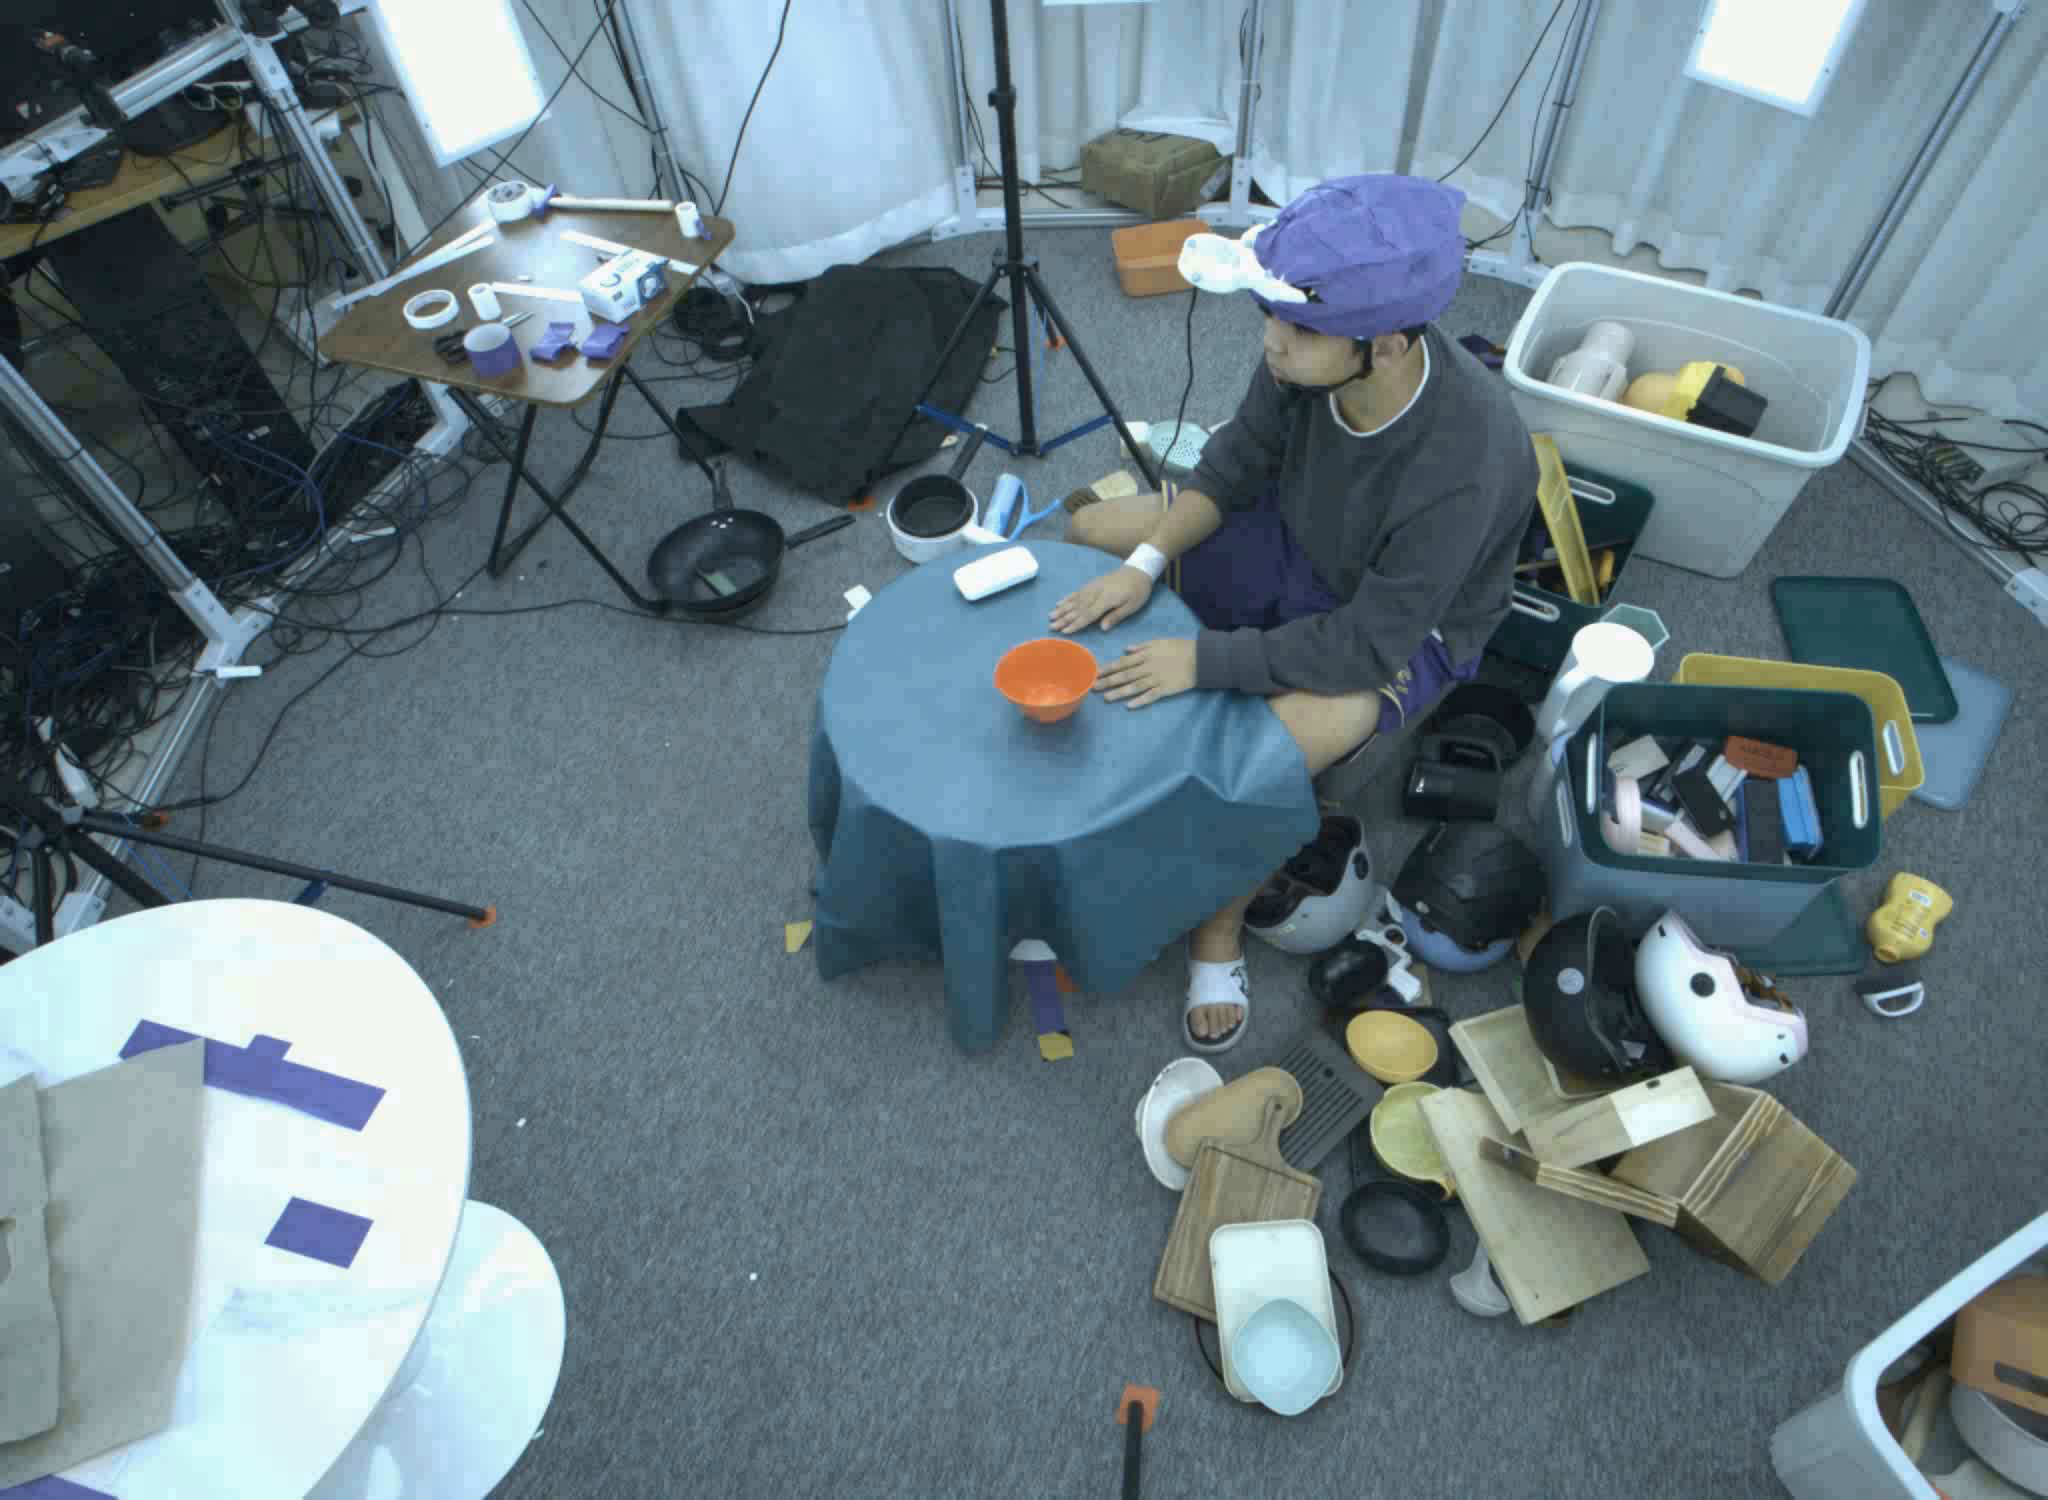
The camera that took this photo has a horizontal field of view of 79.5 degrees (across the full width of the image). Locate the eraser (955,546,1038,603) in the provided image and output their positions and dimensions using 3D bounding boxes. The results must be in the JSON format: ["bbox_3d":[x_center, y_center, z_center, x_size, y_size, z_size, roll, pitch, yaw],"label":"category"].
[{"bbox_3d":[-0.044,-0.282,1.972,0.132,0.035,0.062,-23,58,-12],"label":"eraser"}]

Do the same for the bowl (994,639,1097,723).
[{"bbox_3d":[0.033,-0.087,1.789,0.148,0.106,0.146,-1,54,3],"label":"bowl"}]
